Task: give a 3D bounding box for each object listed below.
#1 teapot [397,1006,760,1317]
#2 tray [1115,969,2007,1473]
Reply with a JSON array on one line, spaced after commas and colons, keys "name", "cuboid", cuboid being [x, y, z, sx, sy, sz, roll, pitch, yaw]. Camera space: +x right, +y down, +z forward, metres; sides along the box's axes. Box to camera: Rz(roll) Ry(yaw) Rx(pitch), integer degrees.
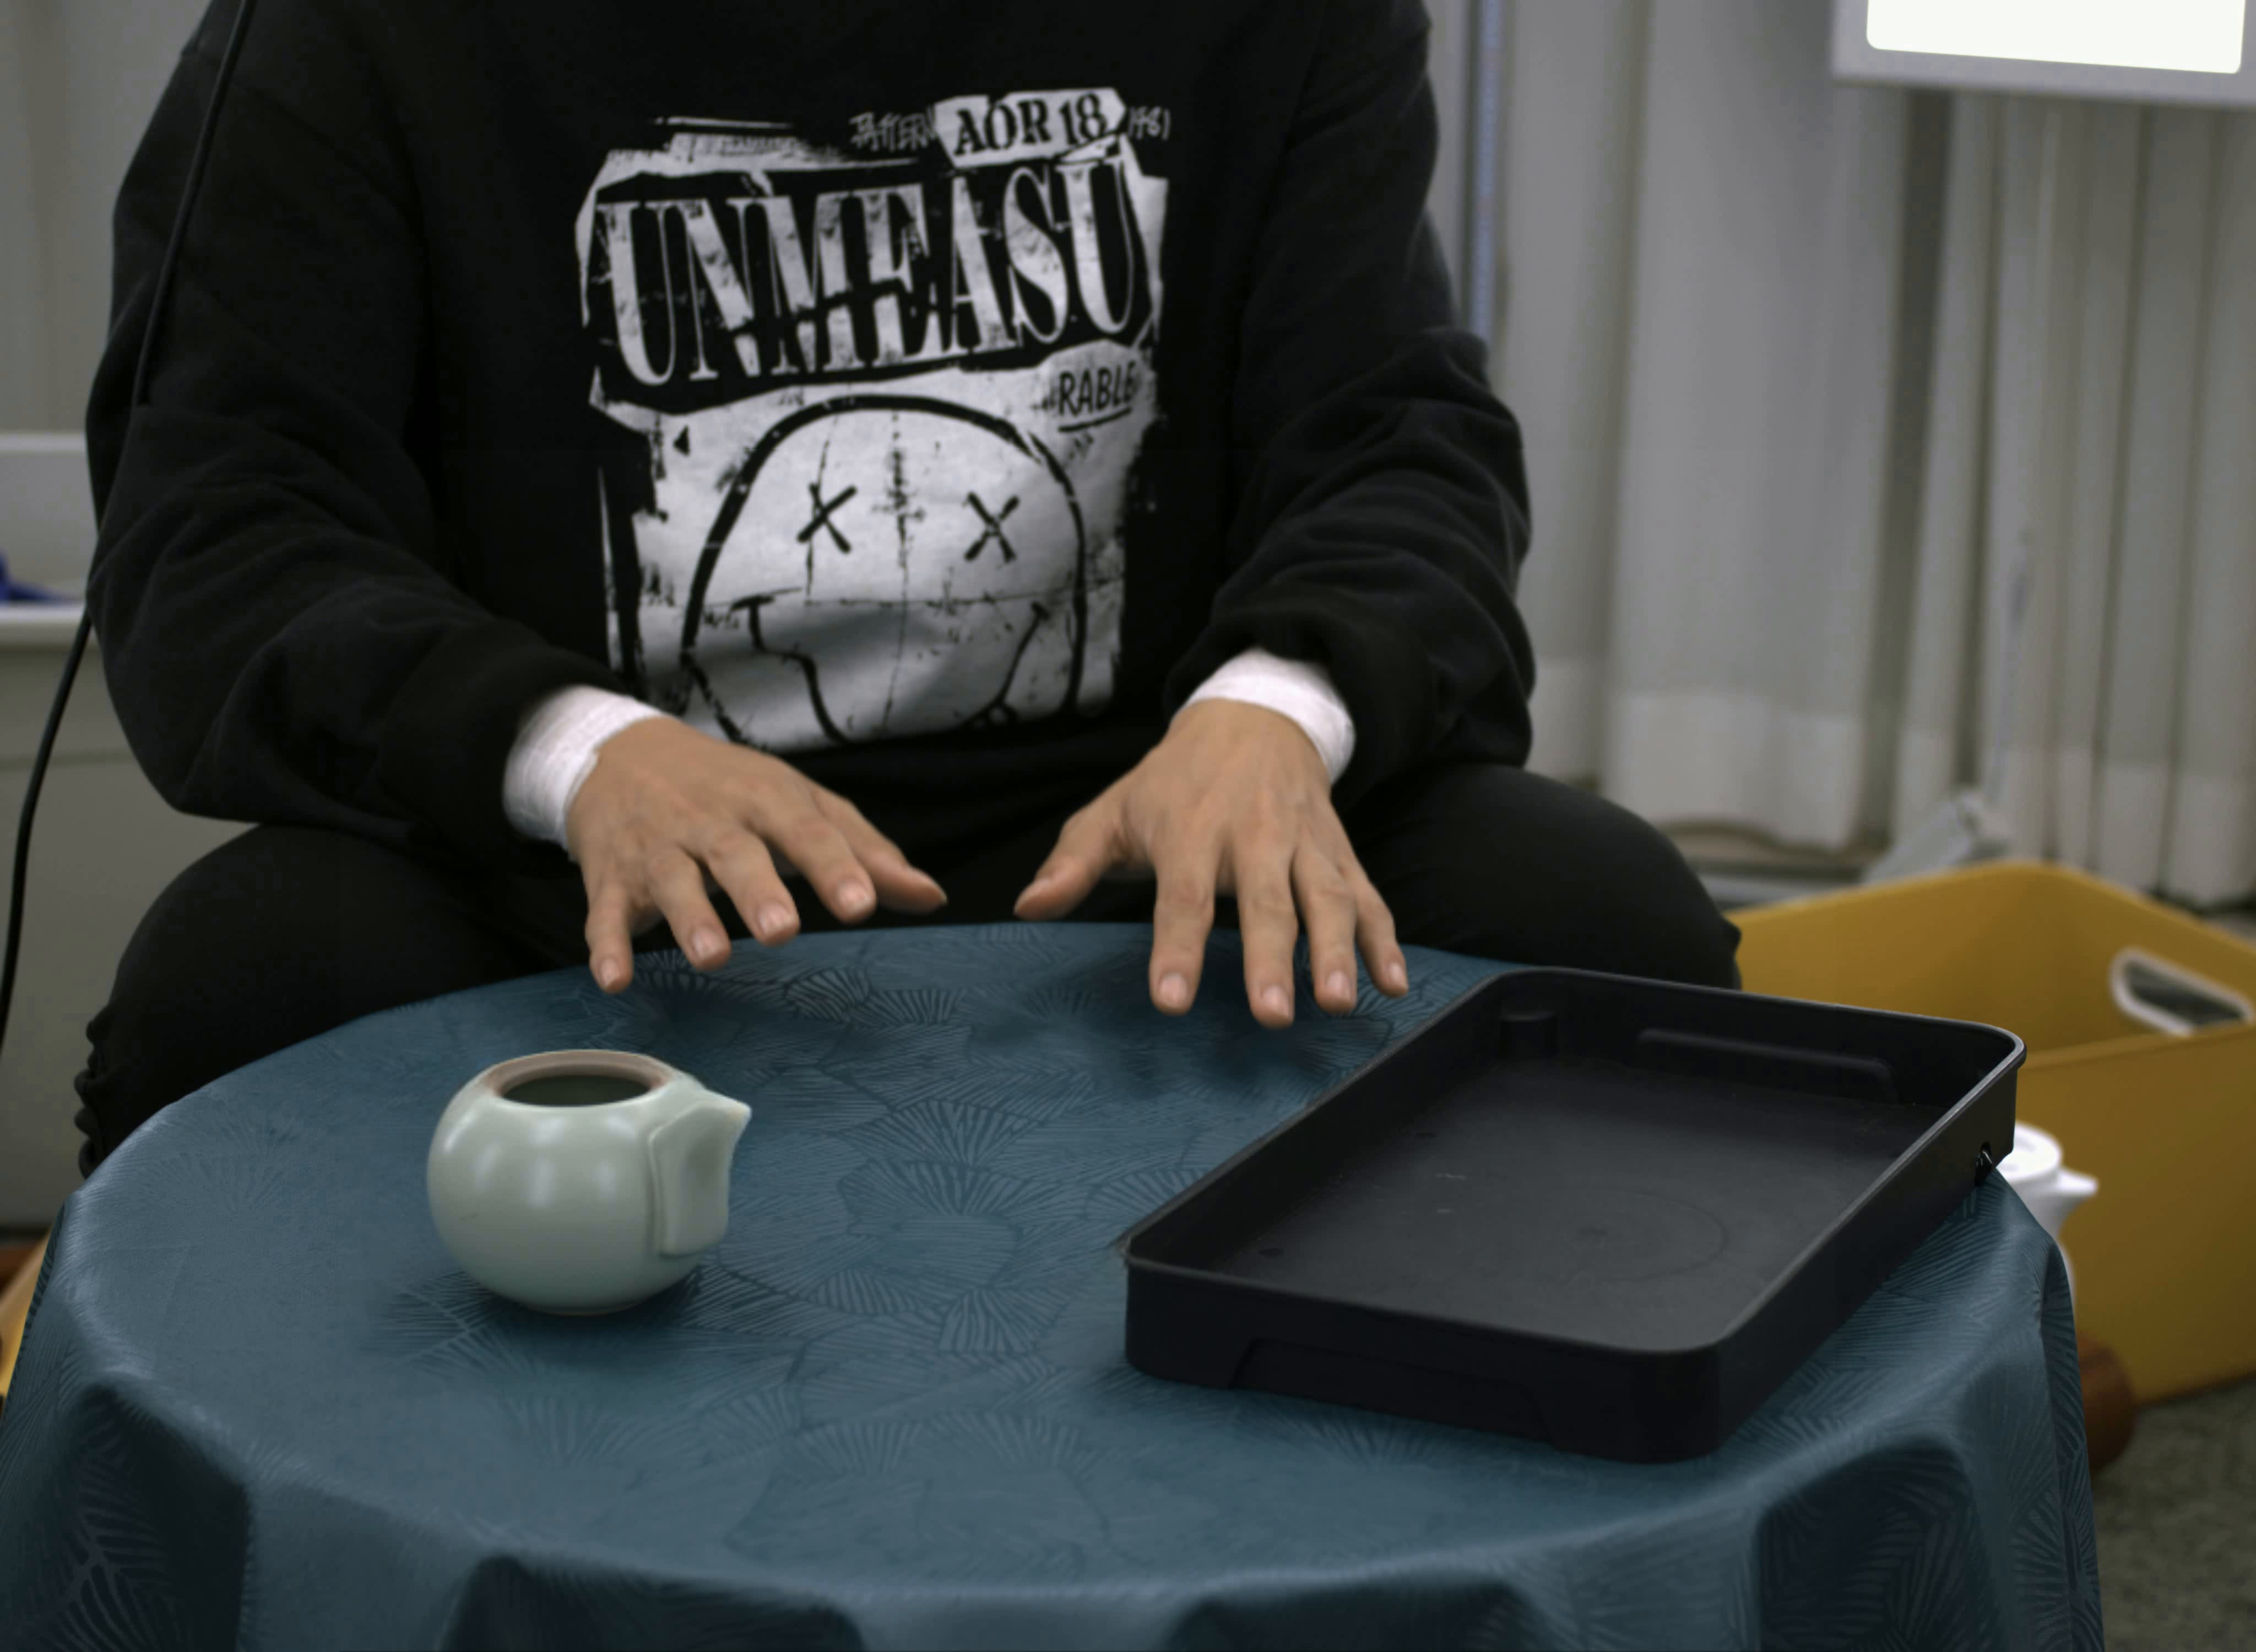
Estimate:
[{"name": "teapot", "cuboid": [-0.159, 0.100, 1.524, 0.142, 0.075, 0.089, 16, 22, 39]}, {"name": "tray", "cuboid": [0.136, 0.110, 1.568, 0.182, 0.037, 0.318, 8, 17, 22]}]
